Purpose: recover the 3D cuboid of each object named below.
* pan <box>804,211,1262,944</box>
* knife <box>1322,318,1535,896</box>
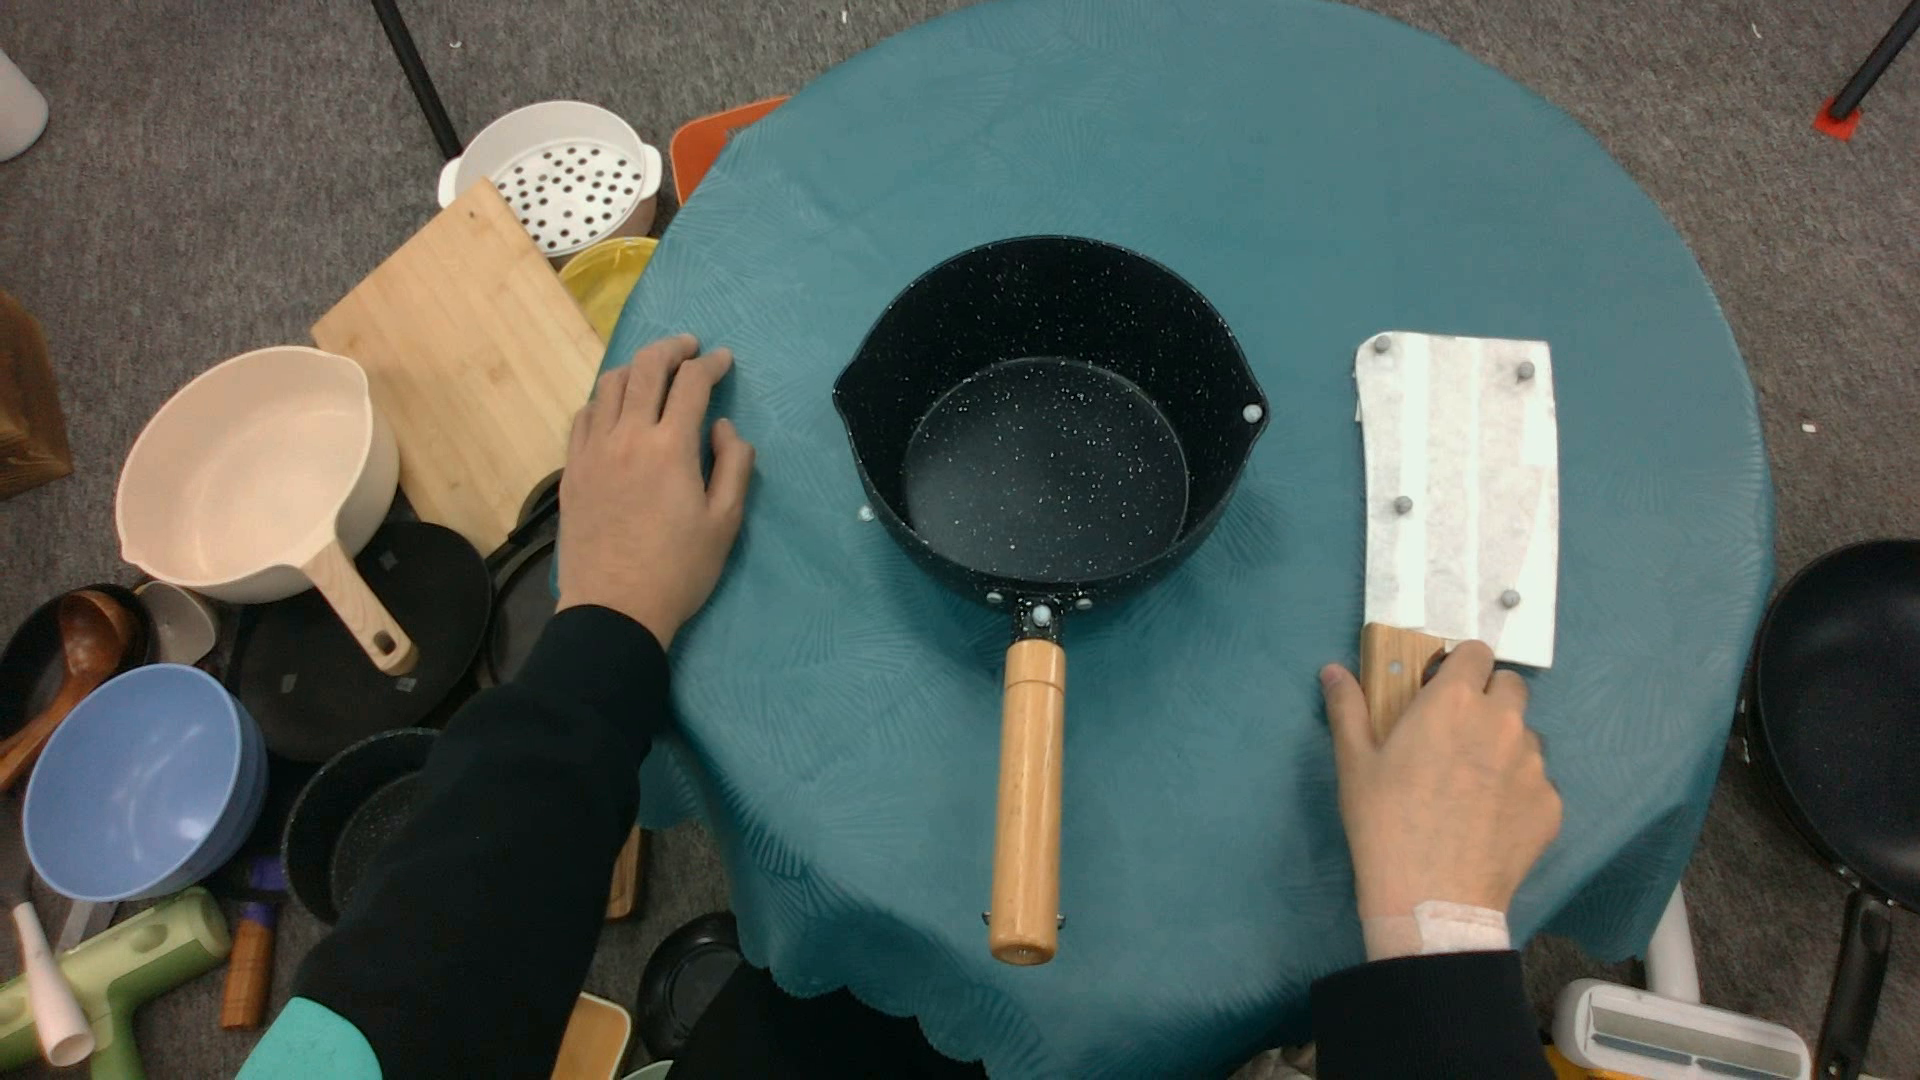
[{"bbox_3d":[0.030,0.011,0.616,0.207,0.108,0.344,1,64,1],"label":"pan"},{"bbox_3d":[0.218,0.015,0.661,0.114,0.021,0.316,11,63,6],"label":"knife"}]
